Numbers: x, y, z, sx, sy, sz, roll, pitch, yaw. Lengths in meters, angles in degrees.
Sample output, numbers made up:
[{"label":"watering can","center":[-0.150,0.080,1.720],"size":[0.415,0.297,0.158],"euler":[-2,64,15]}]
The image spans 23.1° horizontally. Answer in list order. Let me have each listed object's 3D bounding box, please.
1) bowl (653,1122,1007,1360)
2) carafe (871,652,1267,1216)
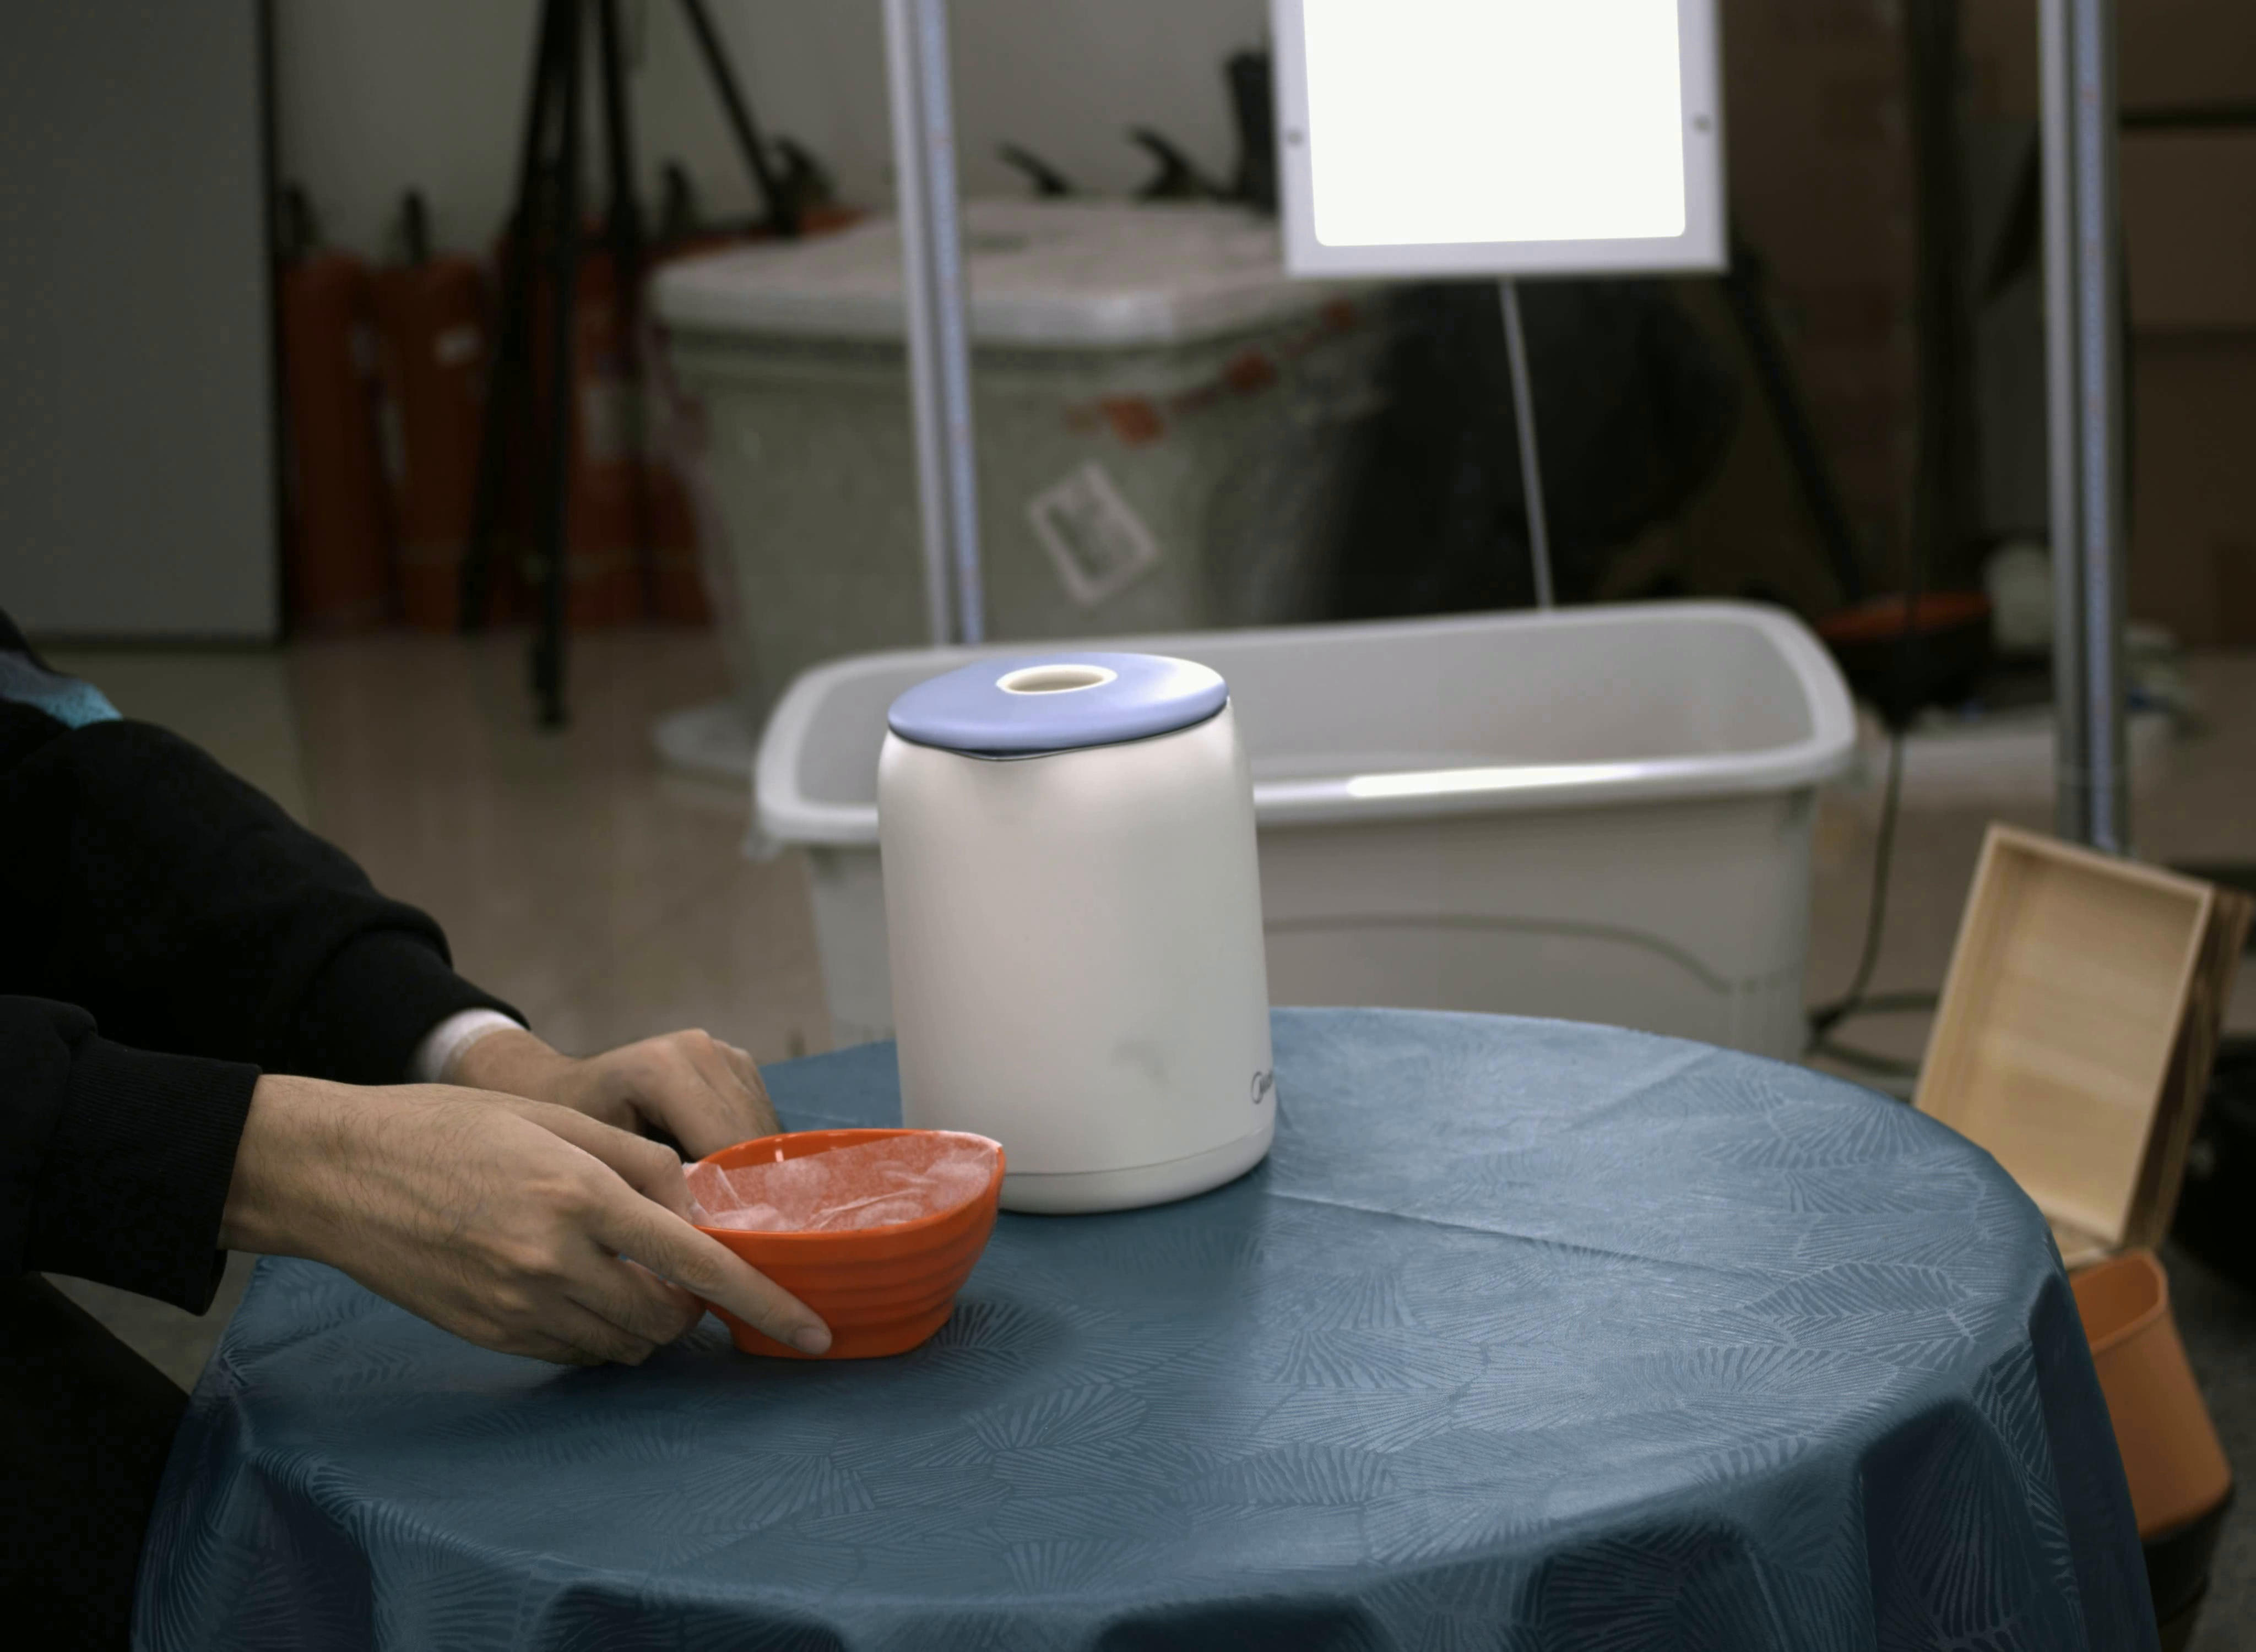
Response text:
[{"label":"bowl","center":[-0.094,0.136,1.777],"size":[0.118,0.051,0.119],"euler":[-4,16,0]},{"label":"carafe","center":[-0.014,0.031,1.932],"size":[0.133,0.183,0.188],"euler":[1,12,16]}]
